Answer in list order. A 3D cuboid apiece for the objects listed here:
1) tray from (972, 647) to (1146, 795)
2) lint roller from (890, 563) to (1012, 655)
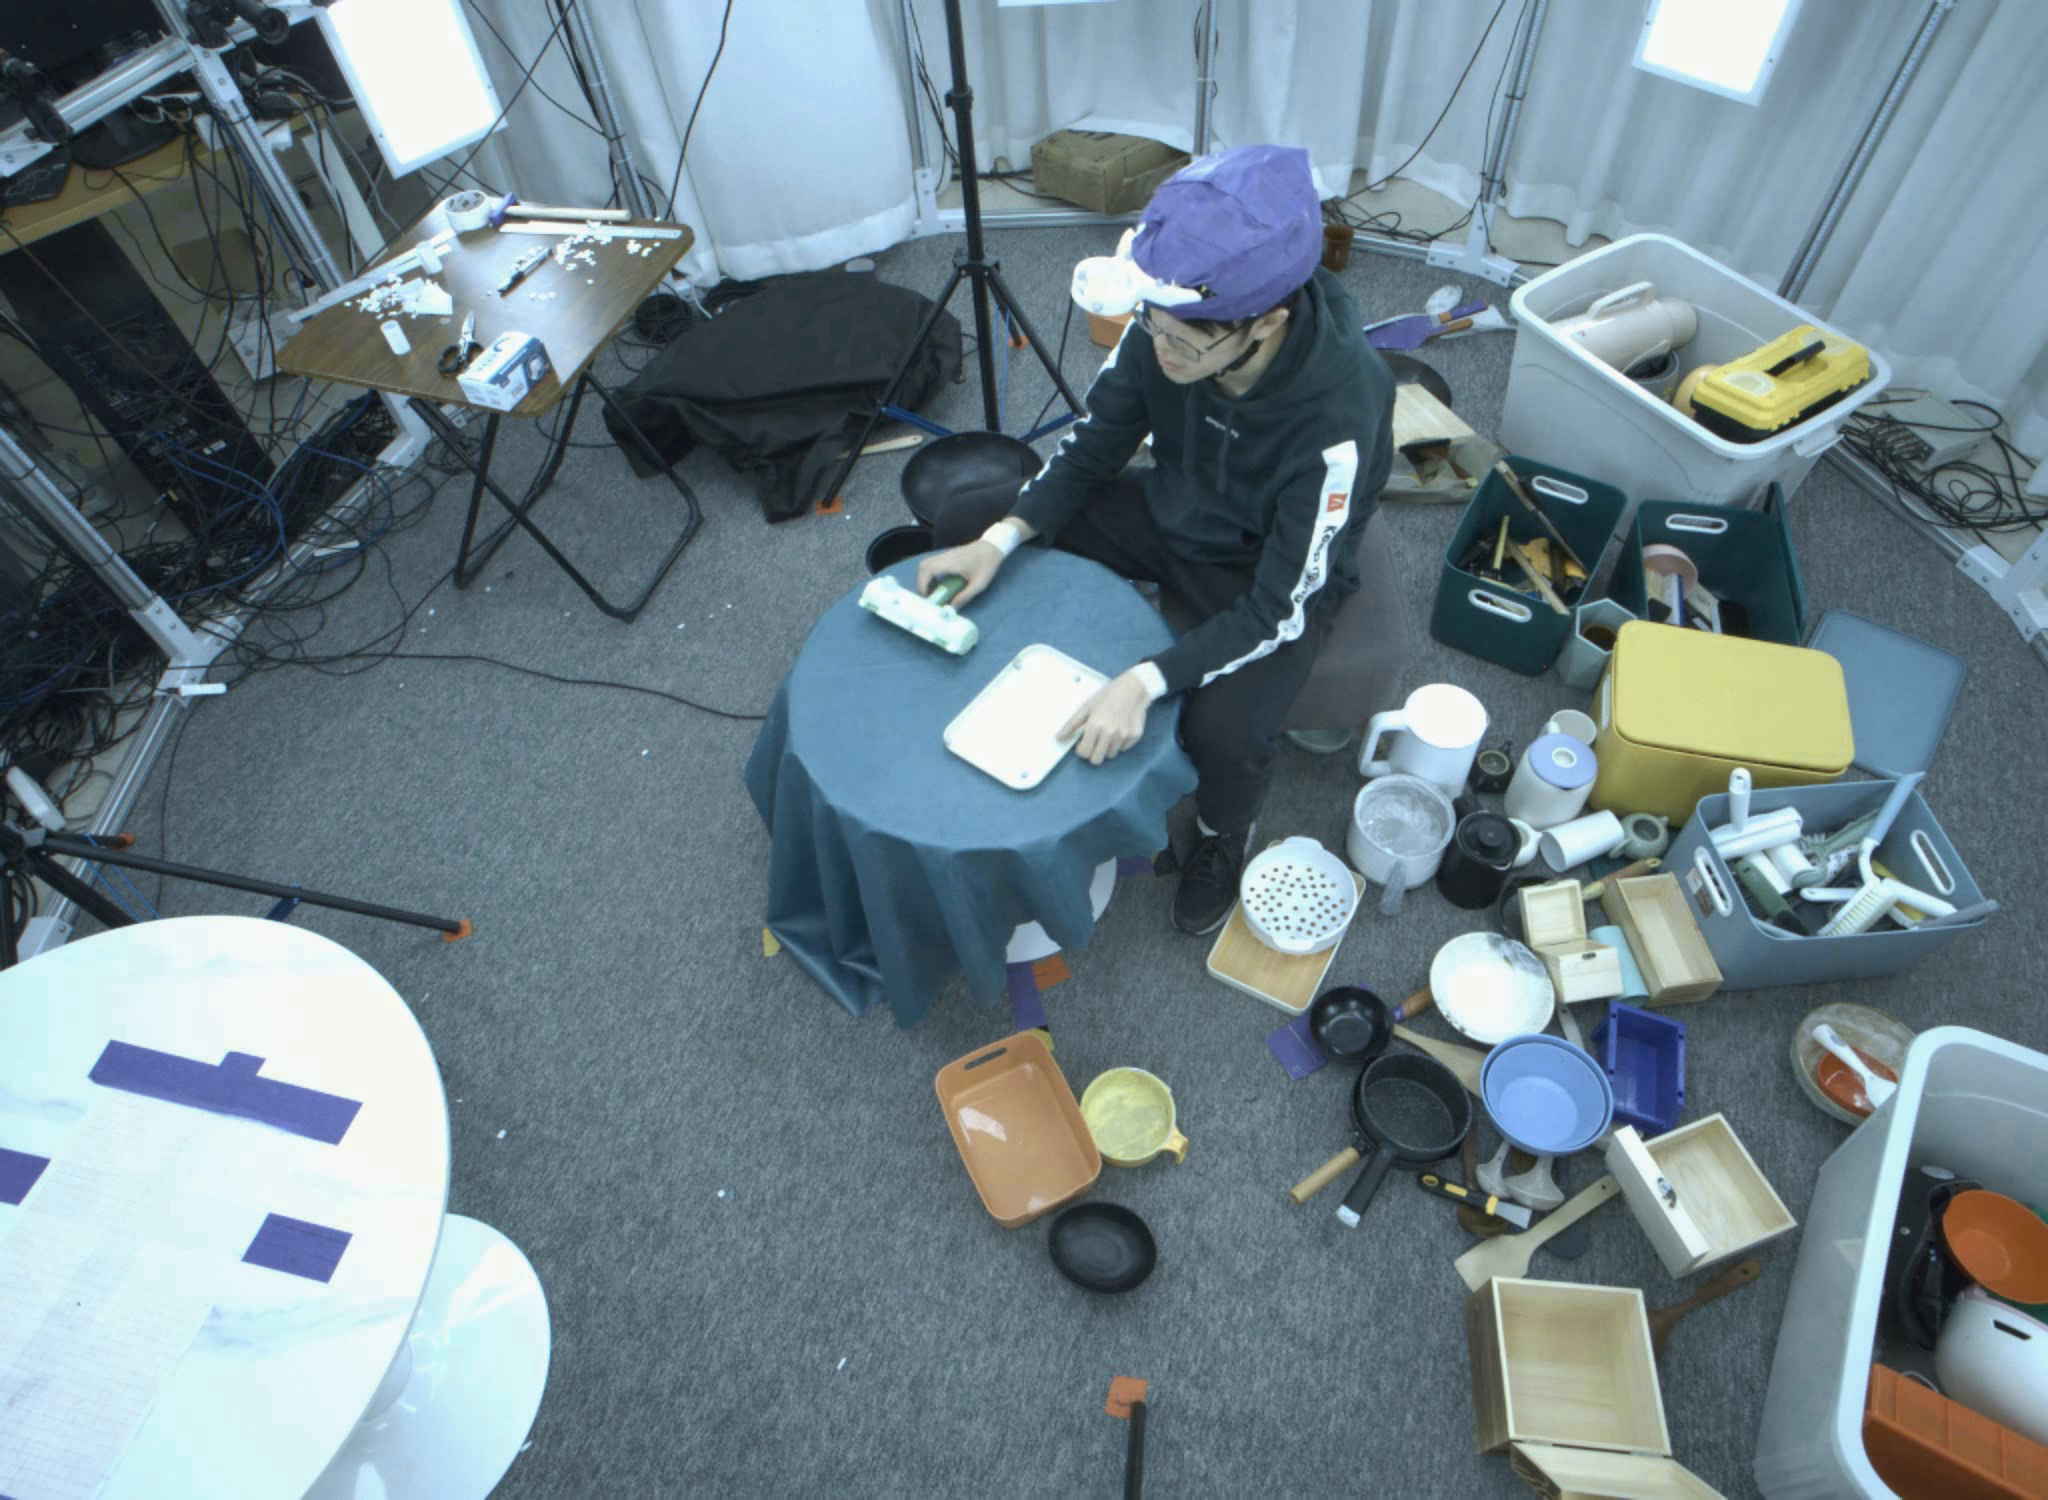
[{"bbox_3d":[0.052,-0.044,1.801,0.168,0.017,0.241,33,62,22],"label":"tray"},{"bbox_3d":[-0.082,-0.250,1.916,0.195,0.083,0.184,30,65,22],"label":"lint roller"}]
